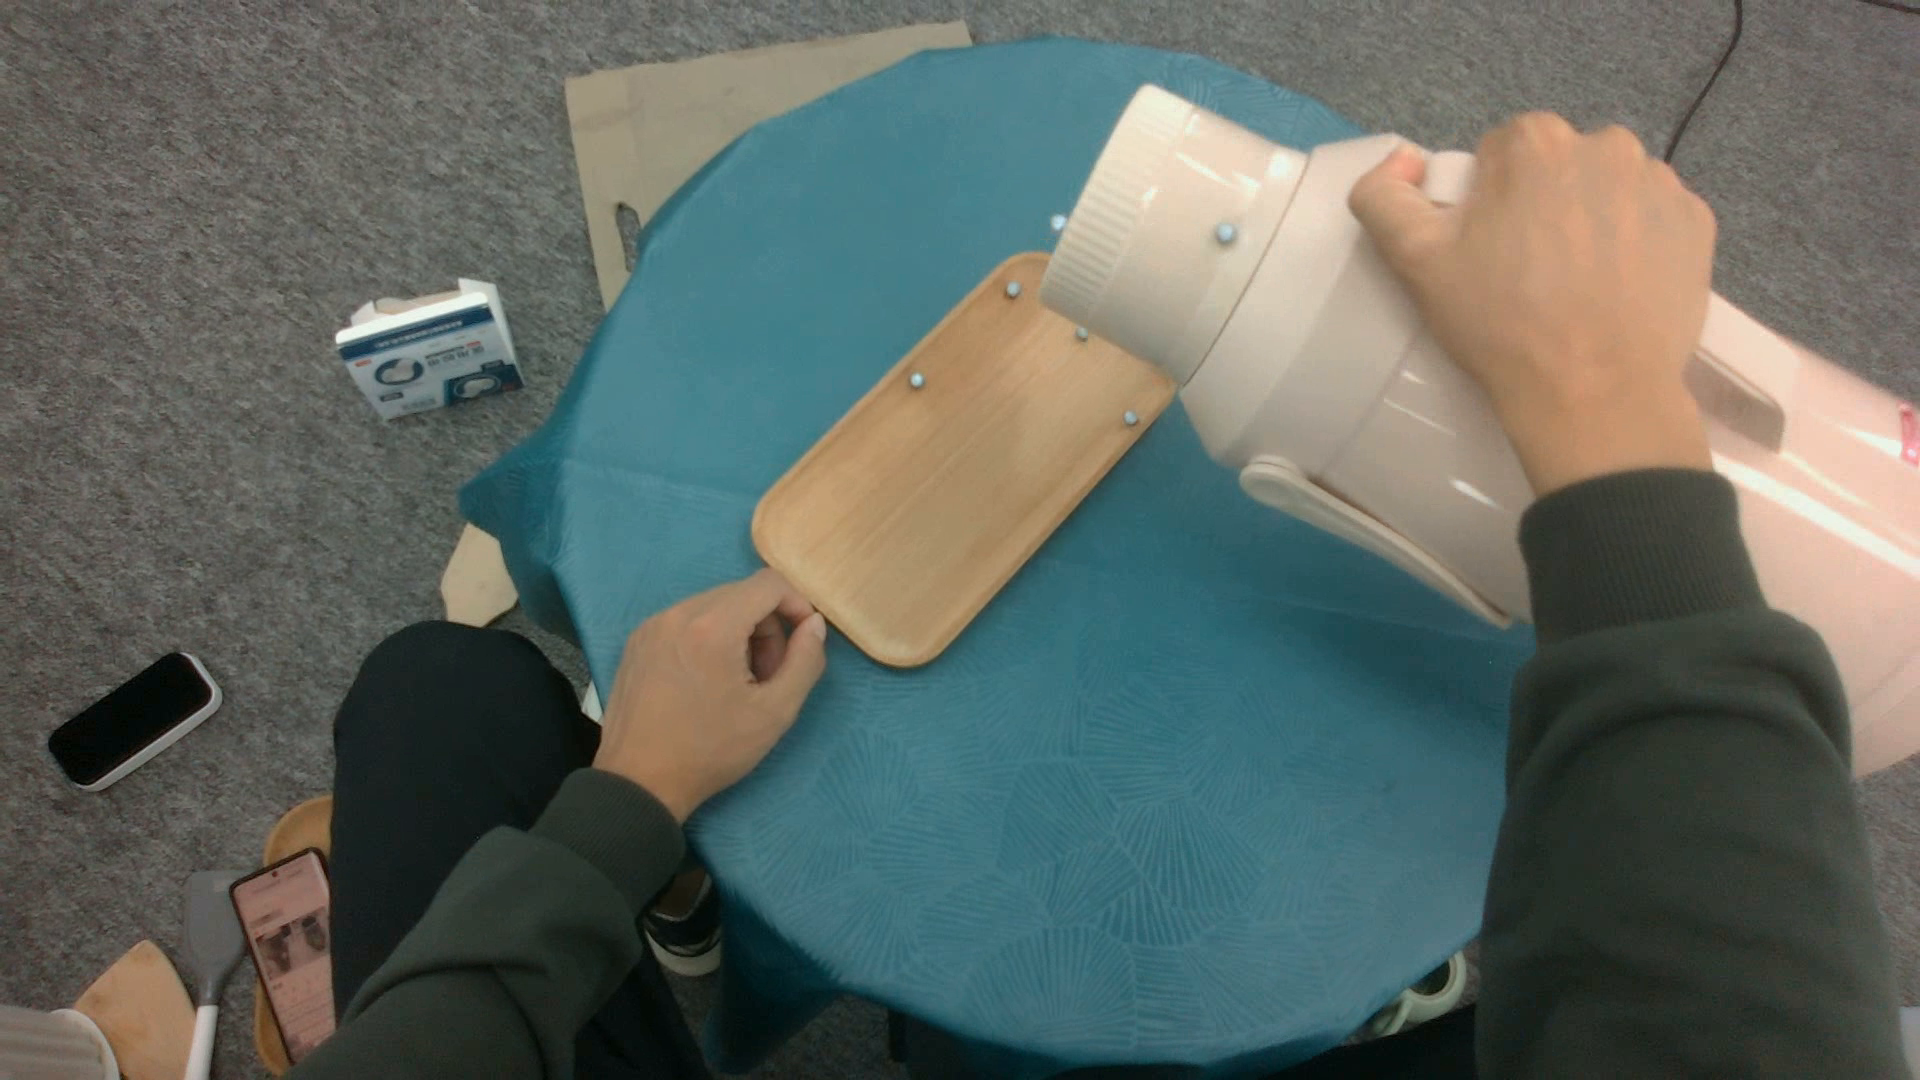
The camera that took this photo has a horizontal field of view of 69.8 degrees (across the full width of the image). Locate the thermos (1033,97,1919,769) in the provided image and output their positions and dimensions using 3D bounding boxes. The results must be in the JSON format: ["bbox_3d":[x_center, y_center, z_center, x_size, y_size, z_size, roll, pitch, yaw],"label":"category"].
[{"bbox_3d":[0.236,-0.061,0.605,0.406,0.206,0.176,28,71,0],"label":"thermos"}]

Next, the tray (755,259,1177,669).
[{"bbox_3d":[0.007,-0.047,0.772,0.130,0.023,0.251,41,72,11],"label":"tray"}]
